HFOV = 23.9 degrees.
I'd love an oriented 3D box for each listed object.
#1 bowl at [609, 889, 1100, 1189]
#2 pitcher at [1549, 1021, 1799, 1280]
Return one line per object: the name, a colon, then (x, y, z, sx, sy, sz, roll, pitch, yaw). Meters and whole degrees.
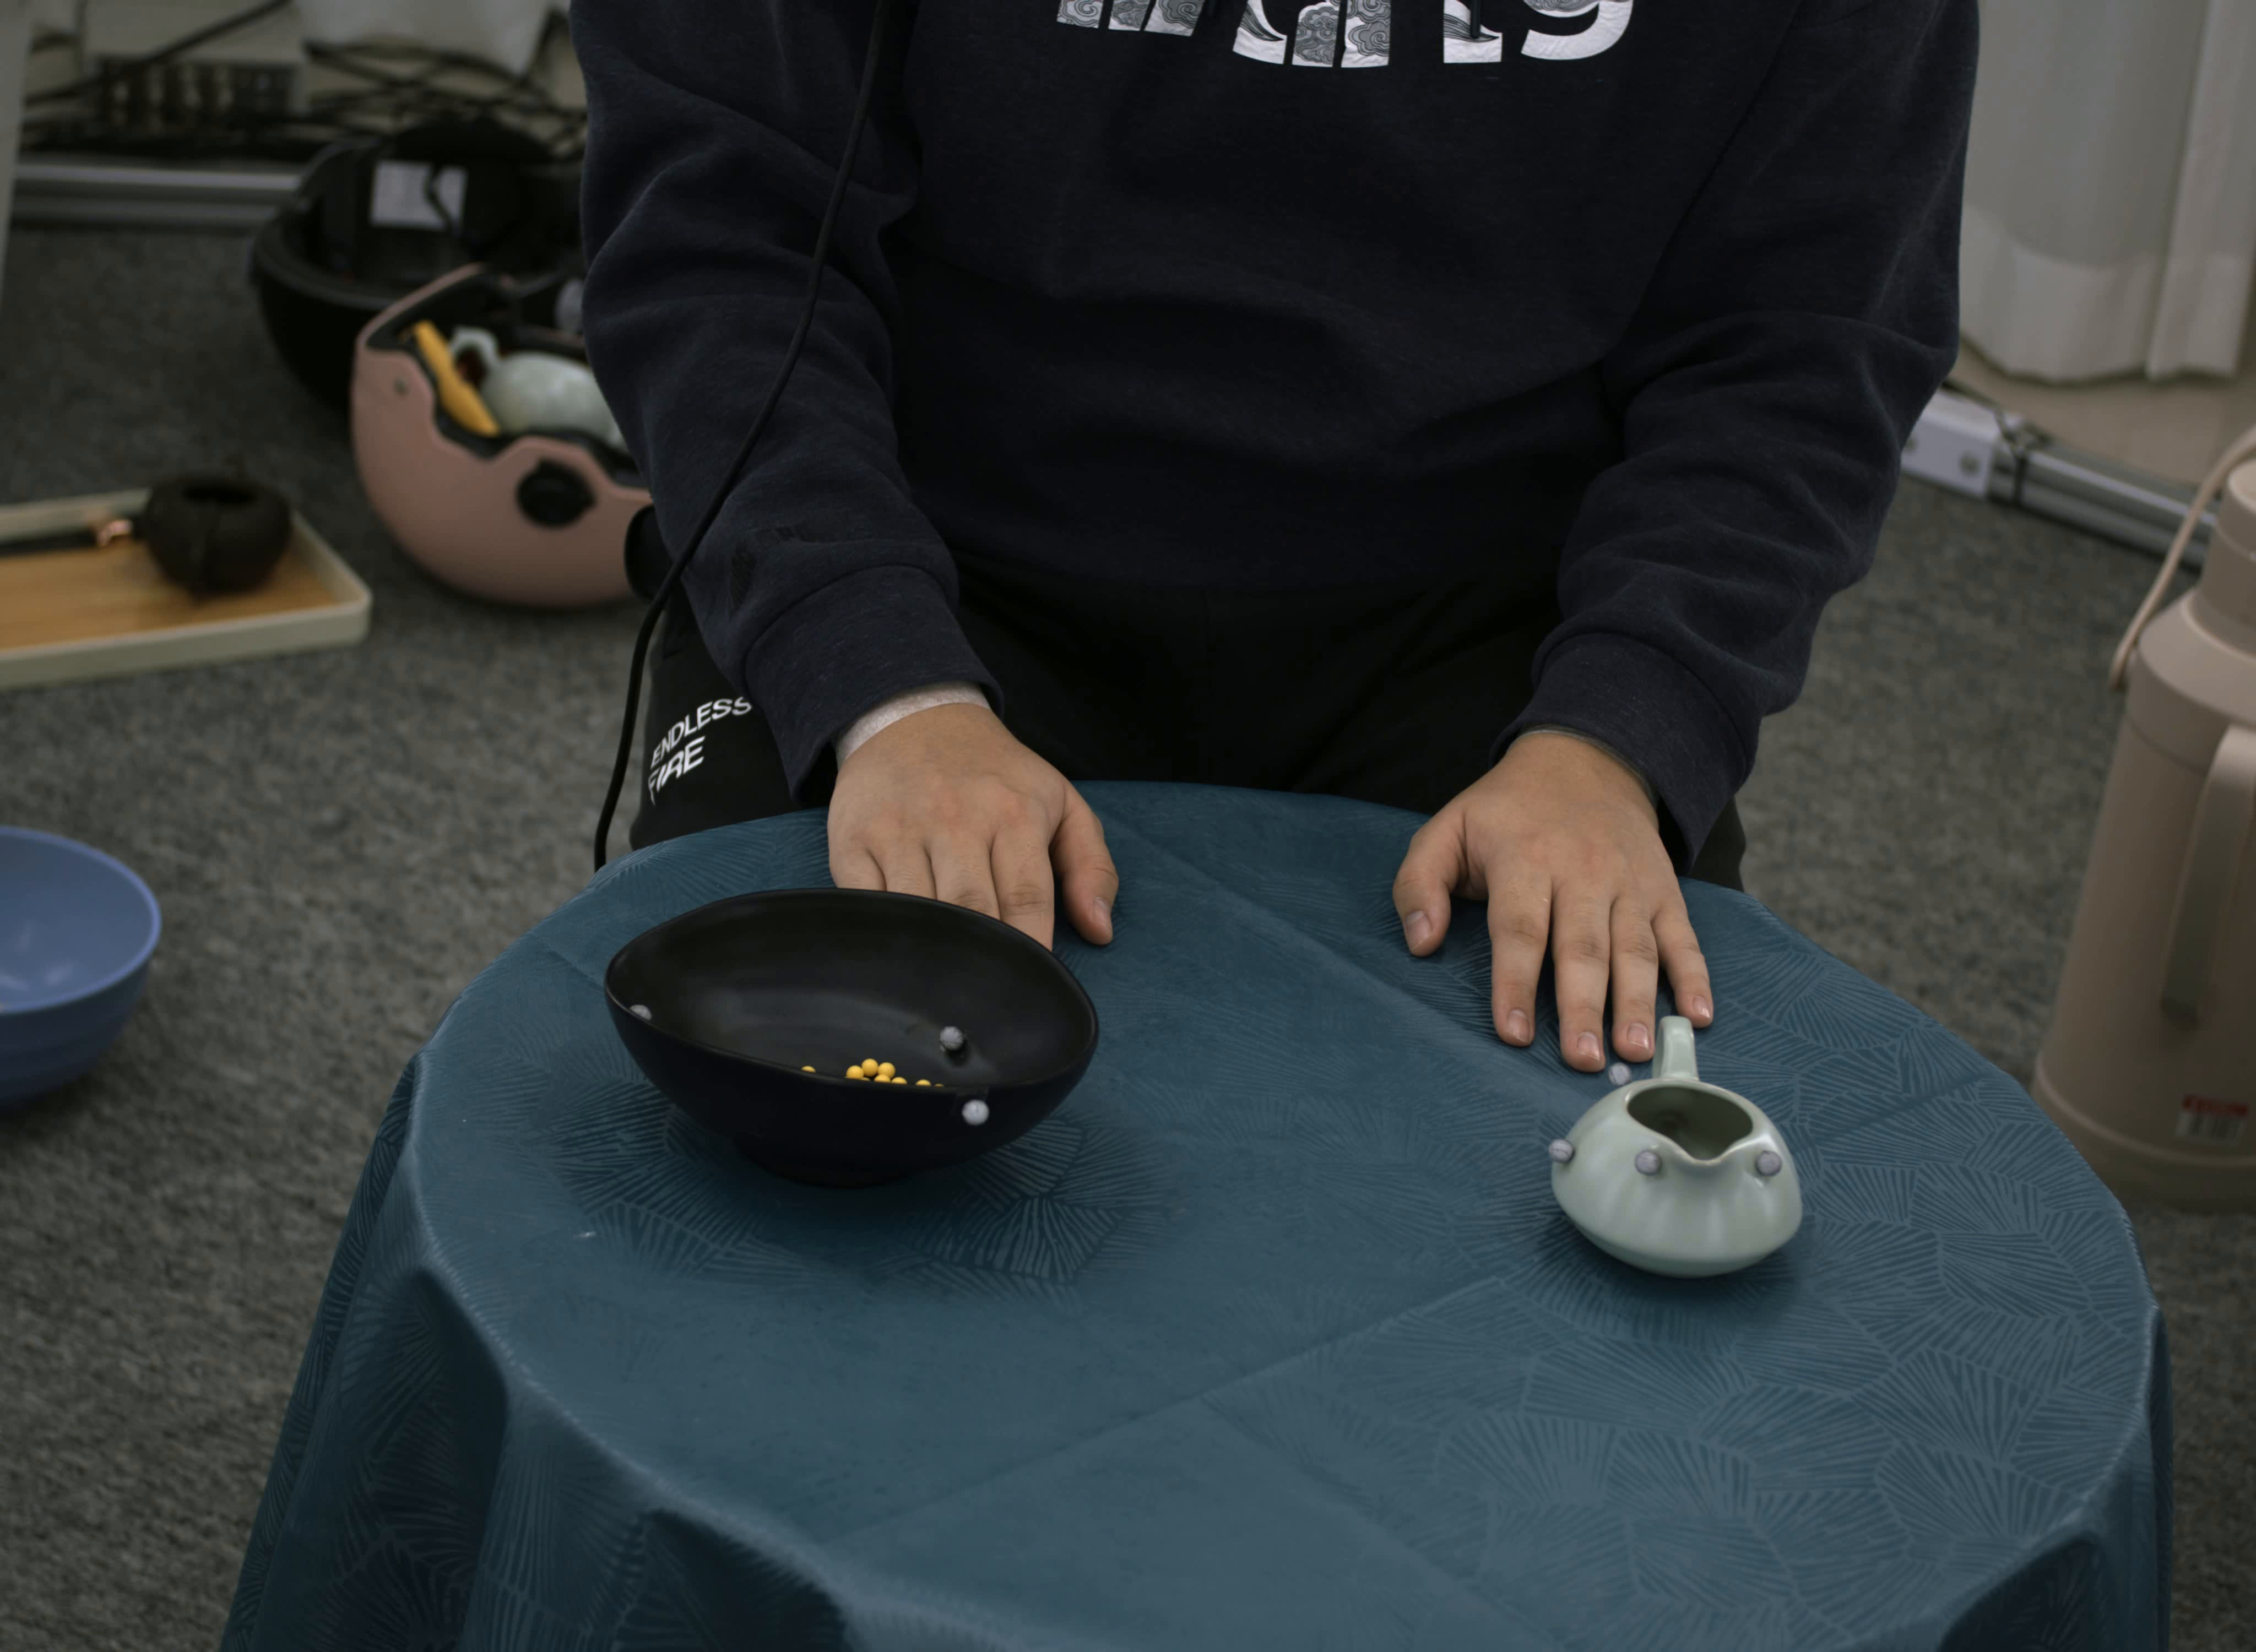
bowl: (-0.096, 0.080, 1.801, 0.170, 0.066, 0.138, 11, 26, 9)
pitcher: (0.186, 0.112, 1.813, 0.085, 0.060, 0.108, 6, 24, -5)
